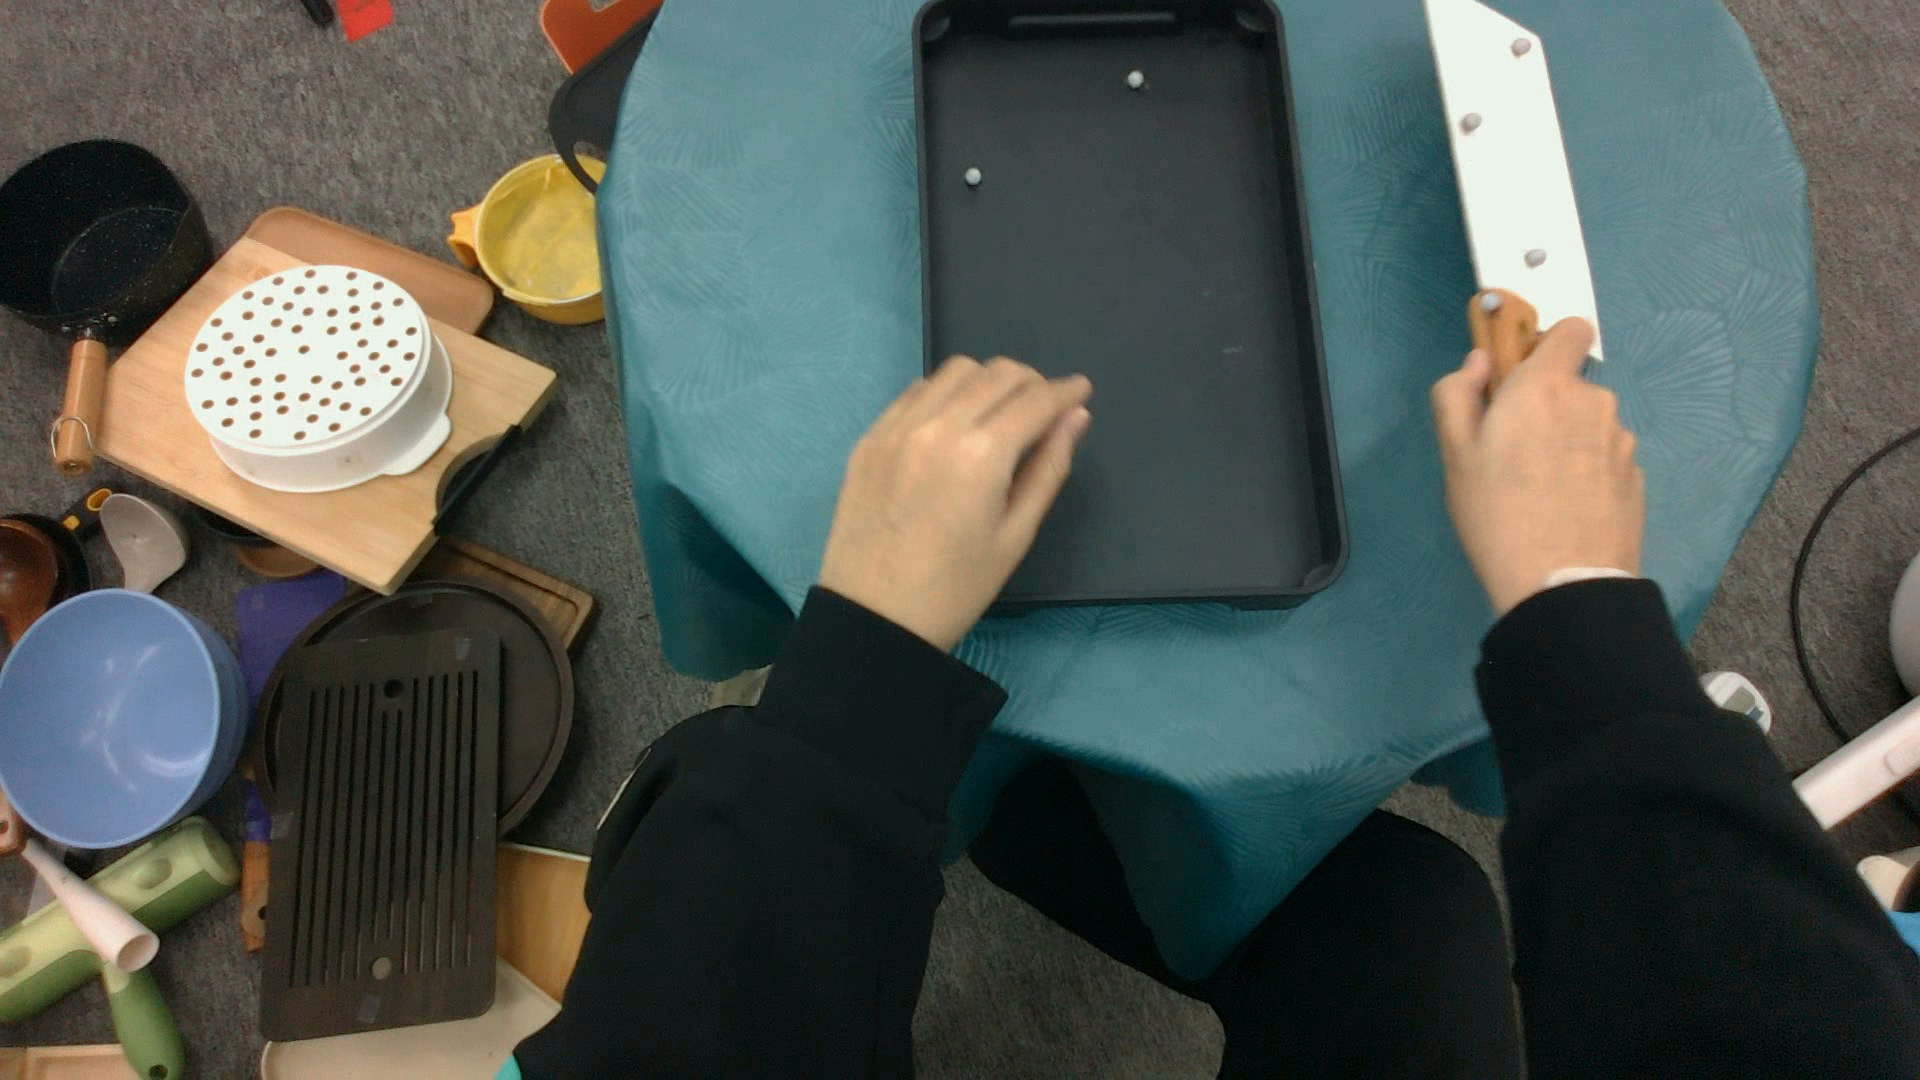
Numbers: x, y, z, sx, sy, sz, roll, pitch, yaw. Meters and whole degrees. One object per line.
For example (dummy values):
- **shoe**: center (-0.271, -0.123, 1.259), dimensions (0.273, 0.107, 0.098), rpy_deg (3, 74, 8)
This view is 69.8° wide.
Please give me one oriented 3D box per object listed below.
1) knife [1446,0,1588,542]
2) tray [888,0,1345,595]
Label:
- **knife**: center (0.260, -0.136, 0.633), dimensions (0.093, 0.021, 0.307), rpy_deg (20, 61, -40)
- **tray**: center (0.066, -0.133, 0.652), dimensions (0.184, 0.037, 0.319), rpy_deg (-4, 72, -2)
